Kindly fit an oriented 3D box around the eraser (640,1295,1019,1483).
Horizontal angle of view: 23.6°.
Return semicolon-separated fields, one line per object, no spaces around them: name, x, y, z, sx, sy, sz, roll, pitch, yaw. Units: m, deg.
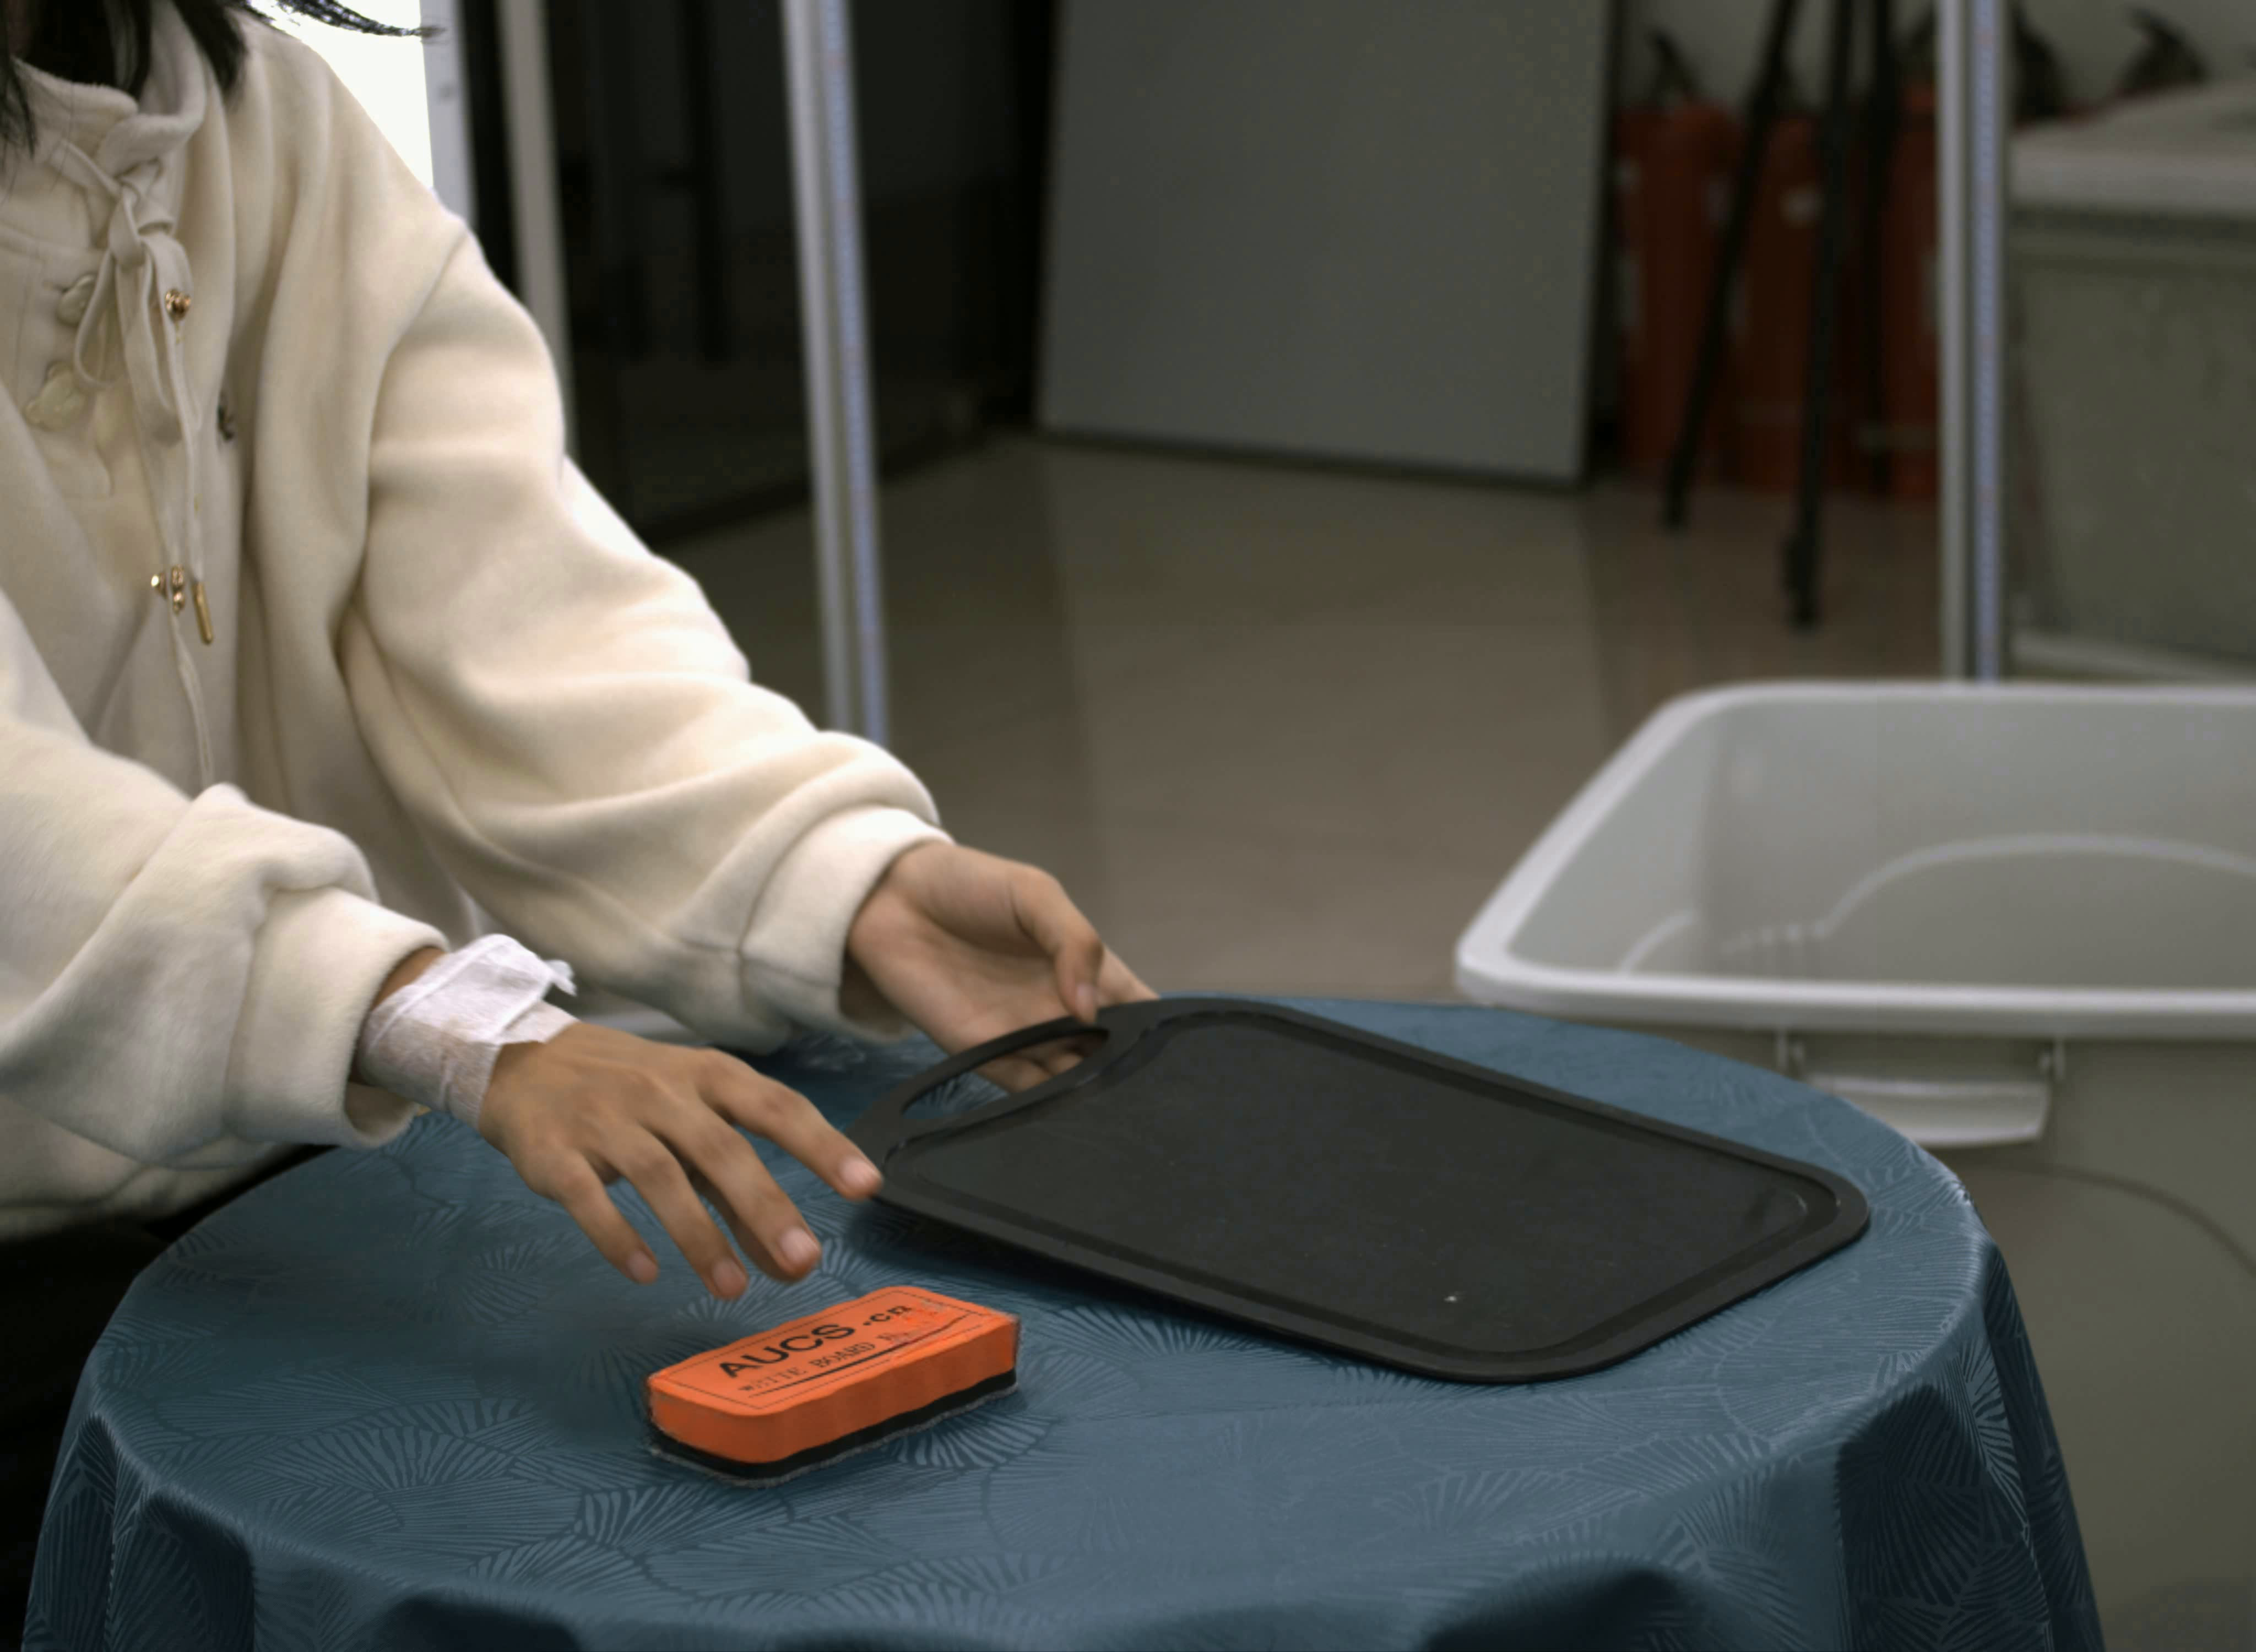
eraser;-0.086;0.163;1.575;0.106;0.023;0.059;-16;15;-41

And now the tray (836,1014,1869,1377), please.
tray;0.062;0.111;1.727;0.328;0.010;0.207;14;23;40
